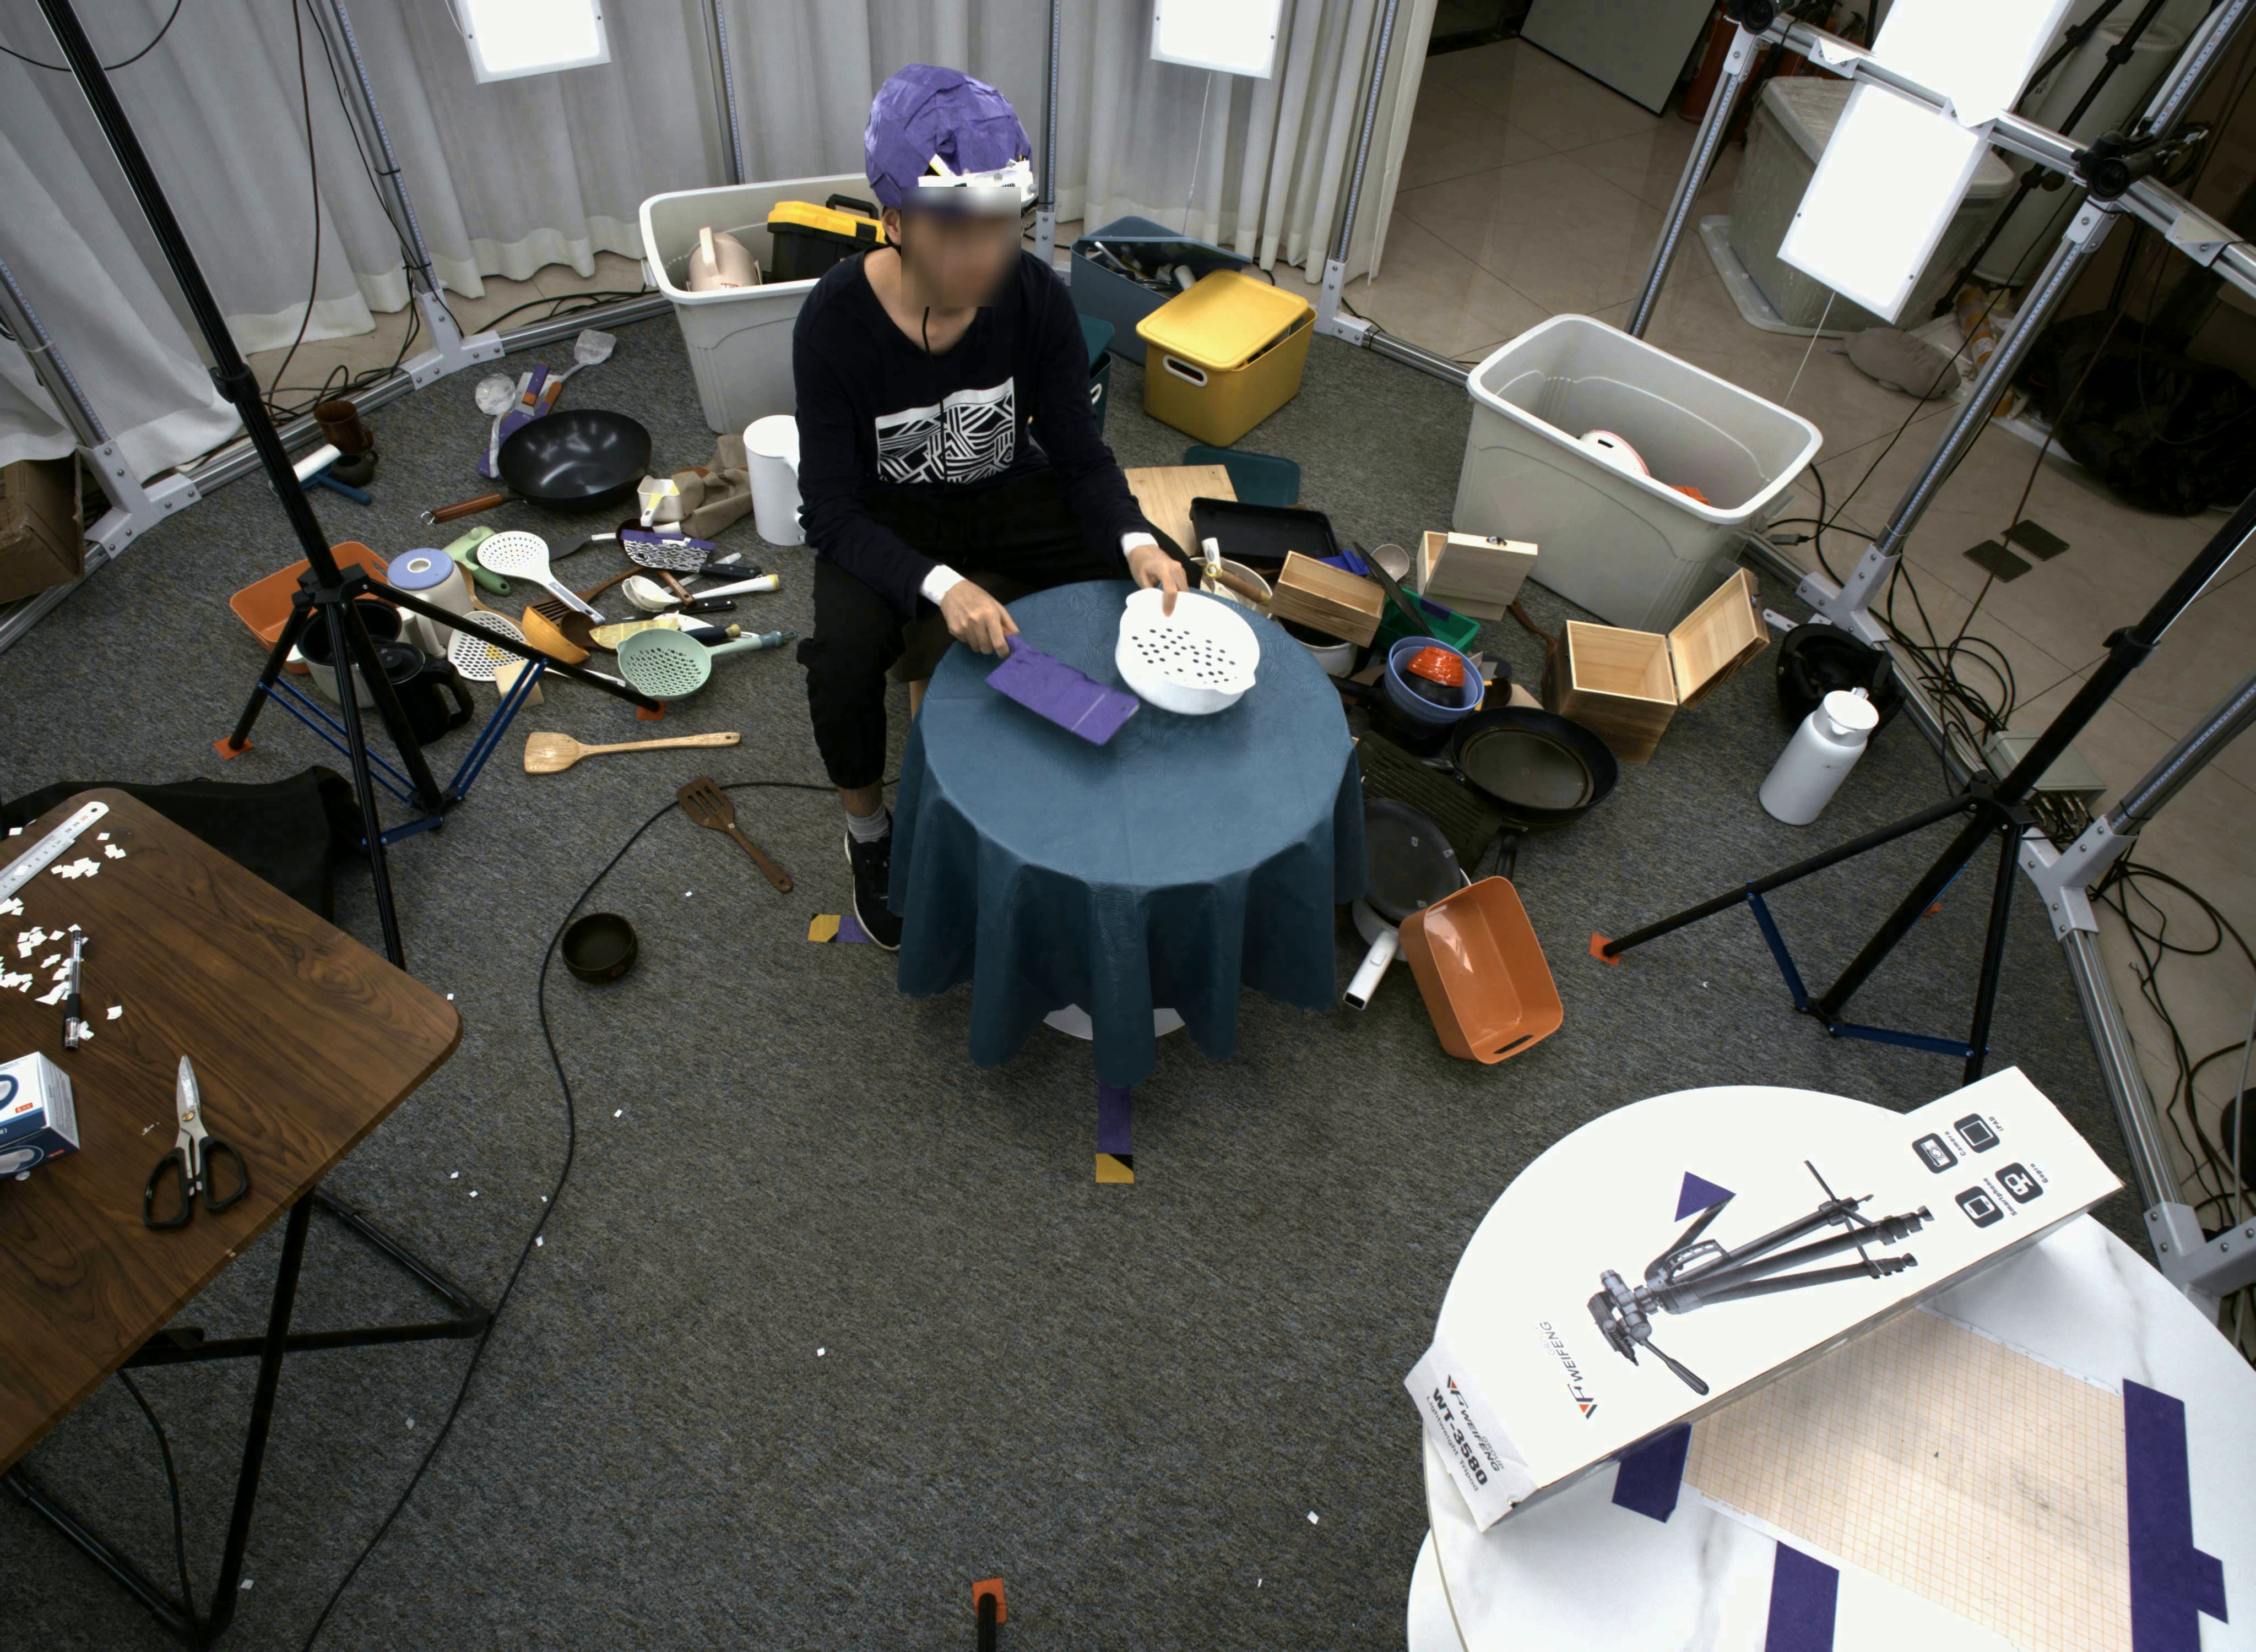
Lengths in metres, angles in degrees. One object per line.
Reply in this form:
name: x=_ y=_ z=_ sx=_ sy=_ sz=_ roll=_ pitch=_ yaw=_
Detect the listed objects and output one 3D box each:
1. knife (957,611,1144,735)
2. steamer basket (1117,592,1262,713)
knife: x=-0.131 y=-0.214 z=1.779 sx=0.319 sy=0.031 sz=0.105 roll=27 pitch=59 yaw=27
steamer basket: x=0.084 y=-0.242 z=1.808 sx=0.203 sy=0.067 sz=0.234 roll=-24 pitch=54 yaw=-35
